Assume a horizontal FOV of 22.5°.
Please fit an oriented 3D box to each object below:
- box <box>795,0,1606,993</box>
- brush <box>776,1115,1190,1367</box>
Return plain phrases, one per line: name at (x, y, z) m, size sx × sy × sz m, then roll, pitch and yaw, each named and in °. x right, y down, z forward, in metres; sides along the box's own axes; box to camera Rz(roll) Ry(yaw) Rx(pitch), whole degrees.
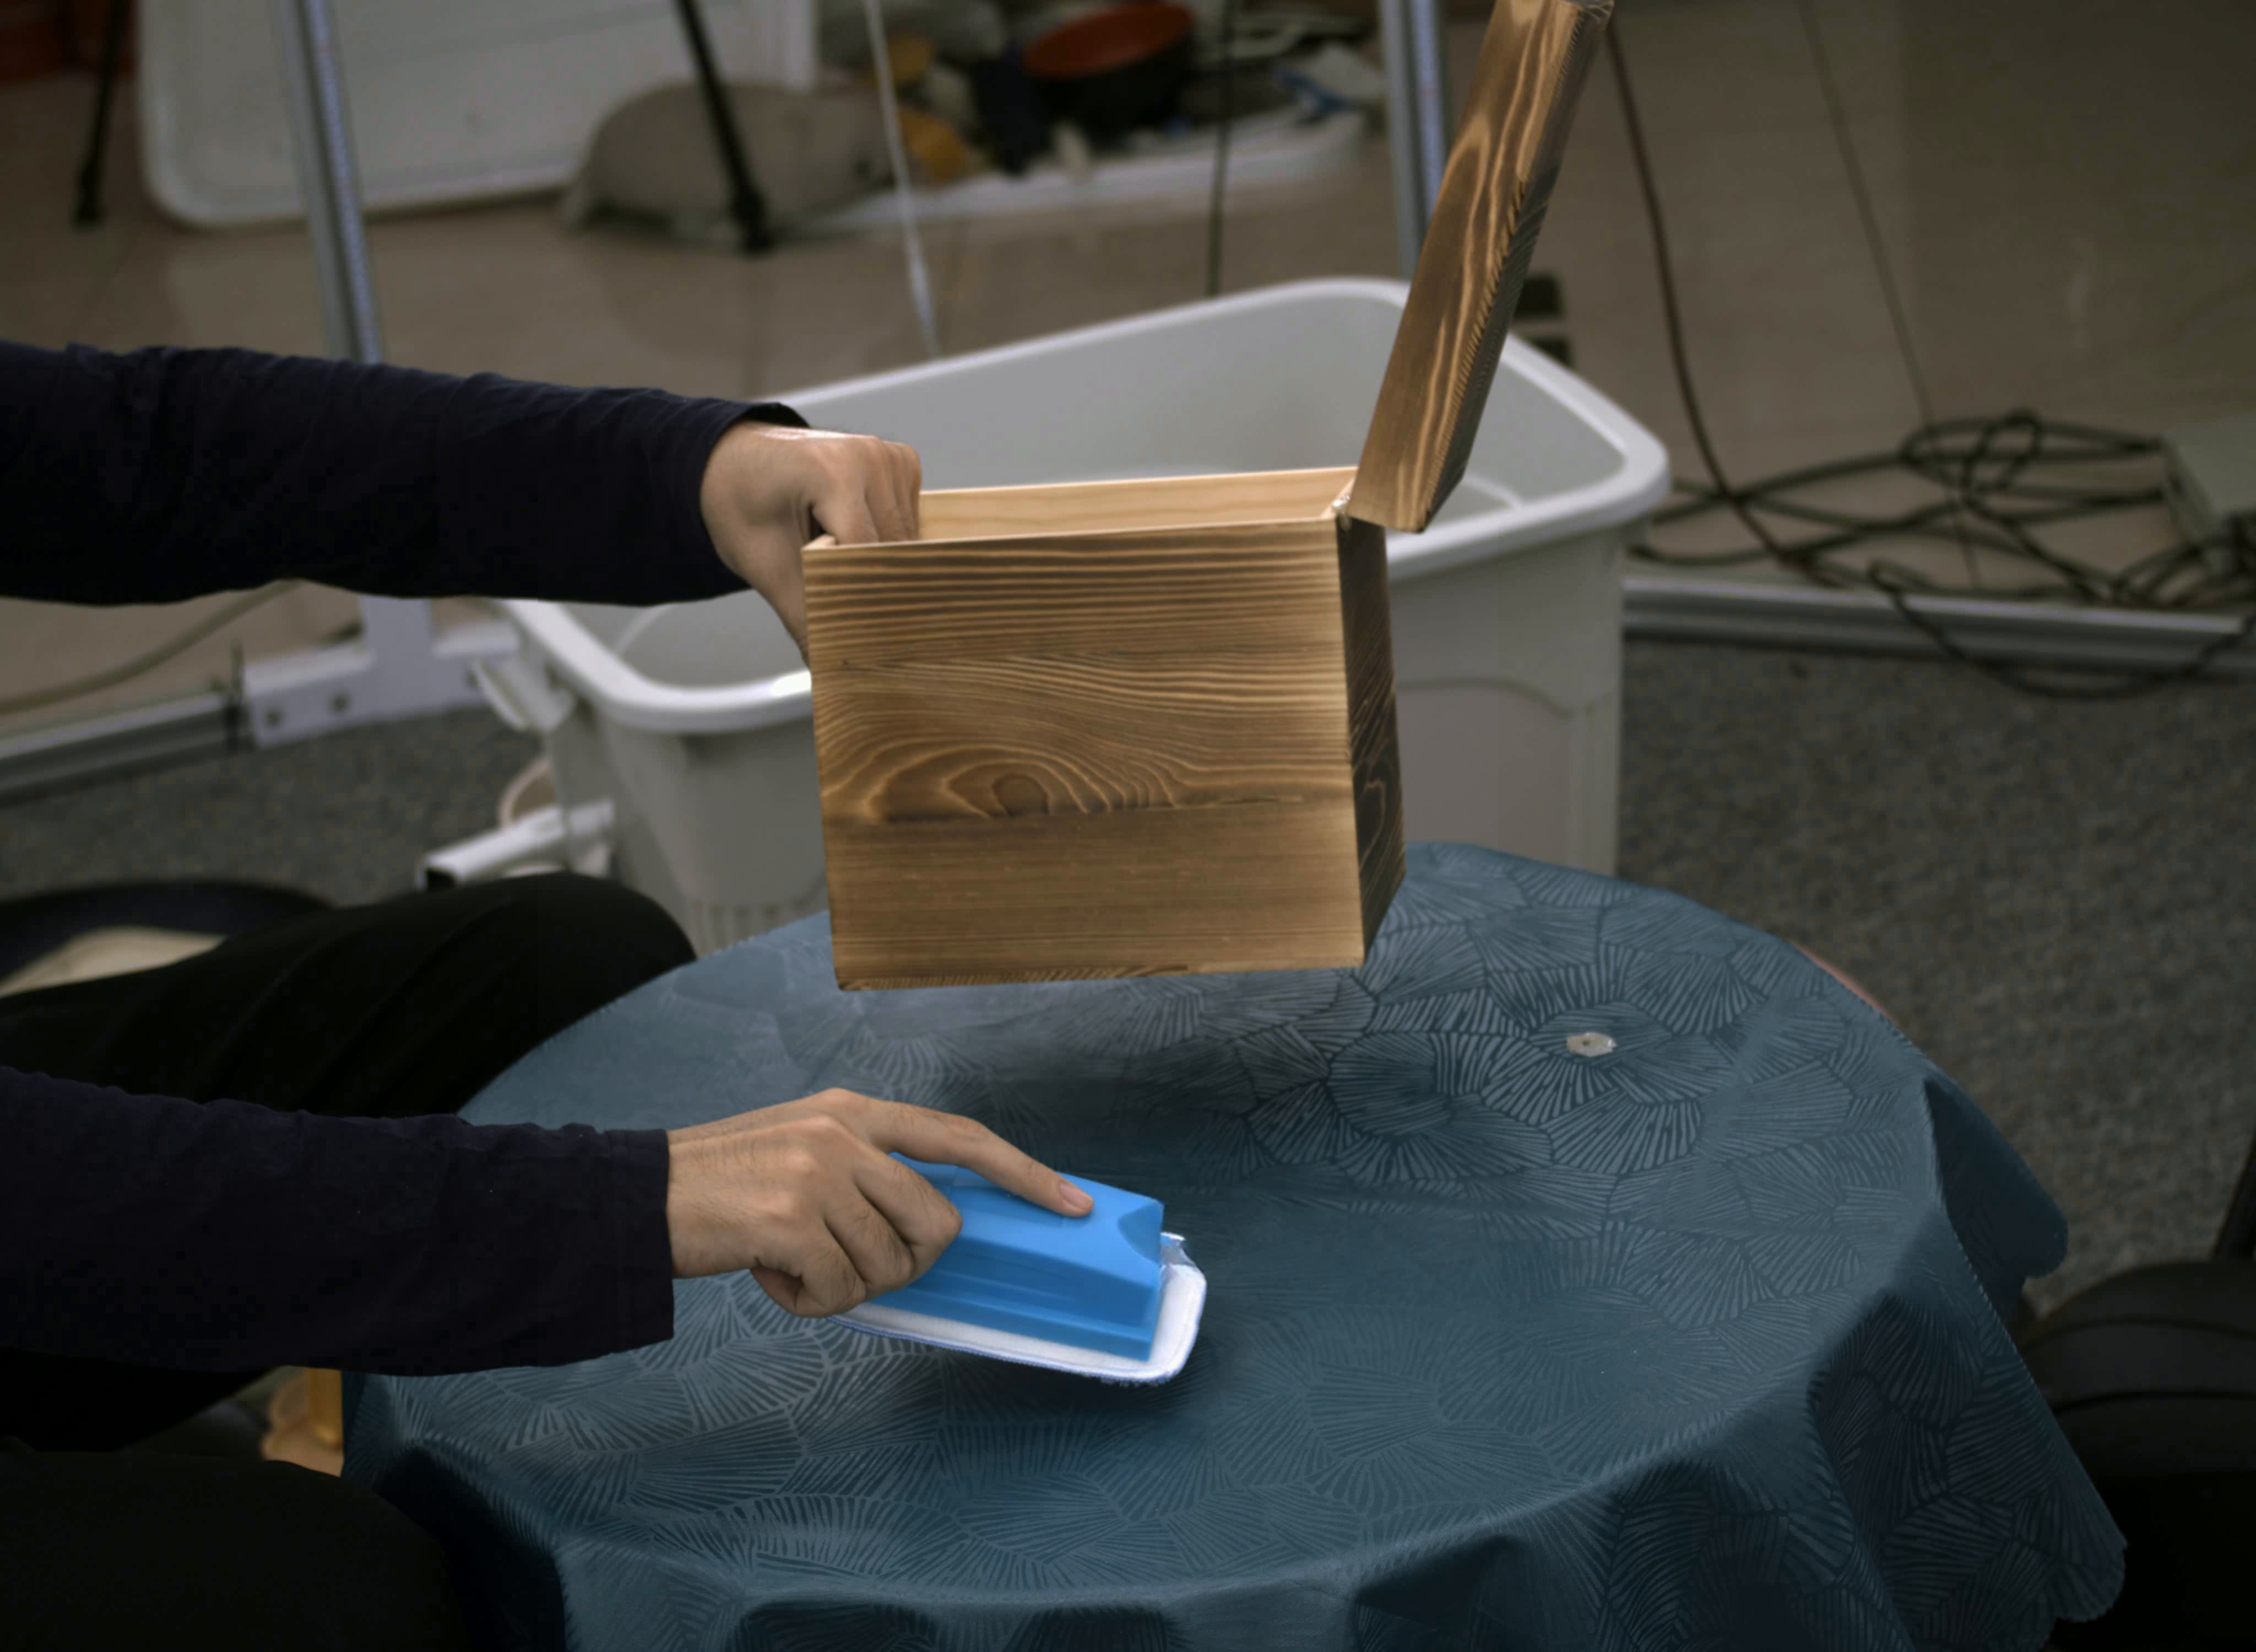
box at (0.039, -0.140, 2.169) m, size 0.321 × 0.378 × 0.207 m, roll -3°, pitch 10°, yaw 8°
brush at (-0.048, 0.143, 2.003) m, size 0.143 × 0.057 × 0.082 m, roll 14°, pitch 34°, yaw 3°
